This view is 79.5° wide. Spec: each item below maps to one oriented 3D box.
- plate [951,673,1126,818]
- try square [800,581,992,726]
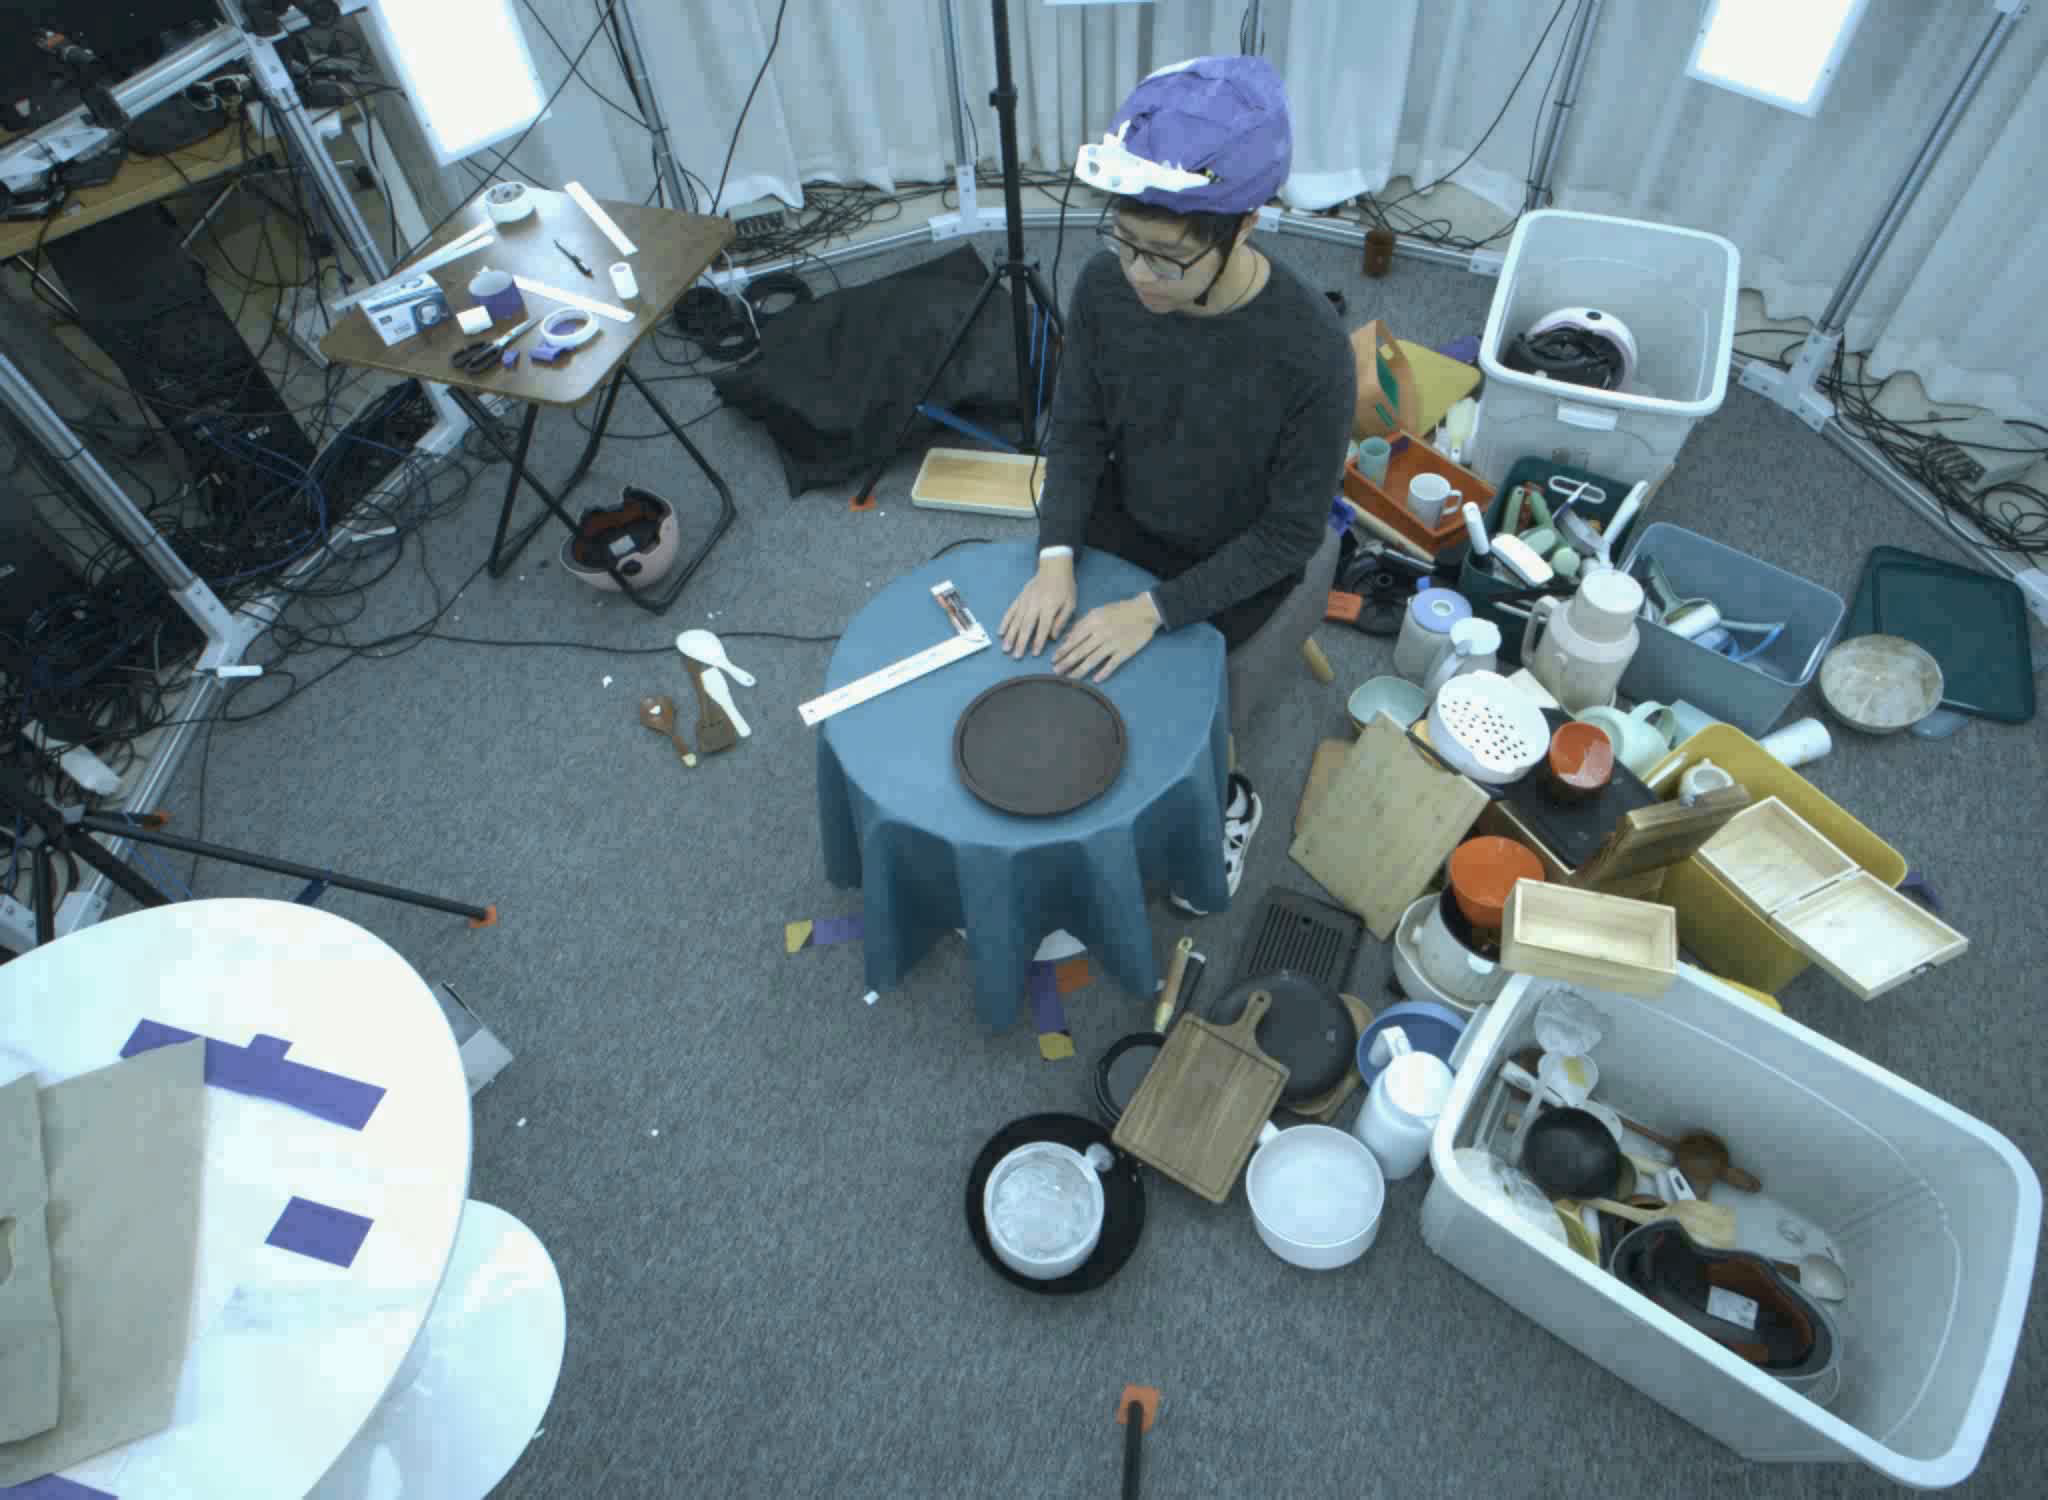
[{"bbox_3d":[0.021,-0.009,1.779,0.254,0.029,0.252,-1,55,3],"label":"plate"},{"bbox_3d":[-0.219,-0.154,1.900,0.315,0.016,0.149,-25,57,-14],"label":"try square"}]
